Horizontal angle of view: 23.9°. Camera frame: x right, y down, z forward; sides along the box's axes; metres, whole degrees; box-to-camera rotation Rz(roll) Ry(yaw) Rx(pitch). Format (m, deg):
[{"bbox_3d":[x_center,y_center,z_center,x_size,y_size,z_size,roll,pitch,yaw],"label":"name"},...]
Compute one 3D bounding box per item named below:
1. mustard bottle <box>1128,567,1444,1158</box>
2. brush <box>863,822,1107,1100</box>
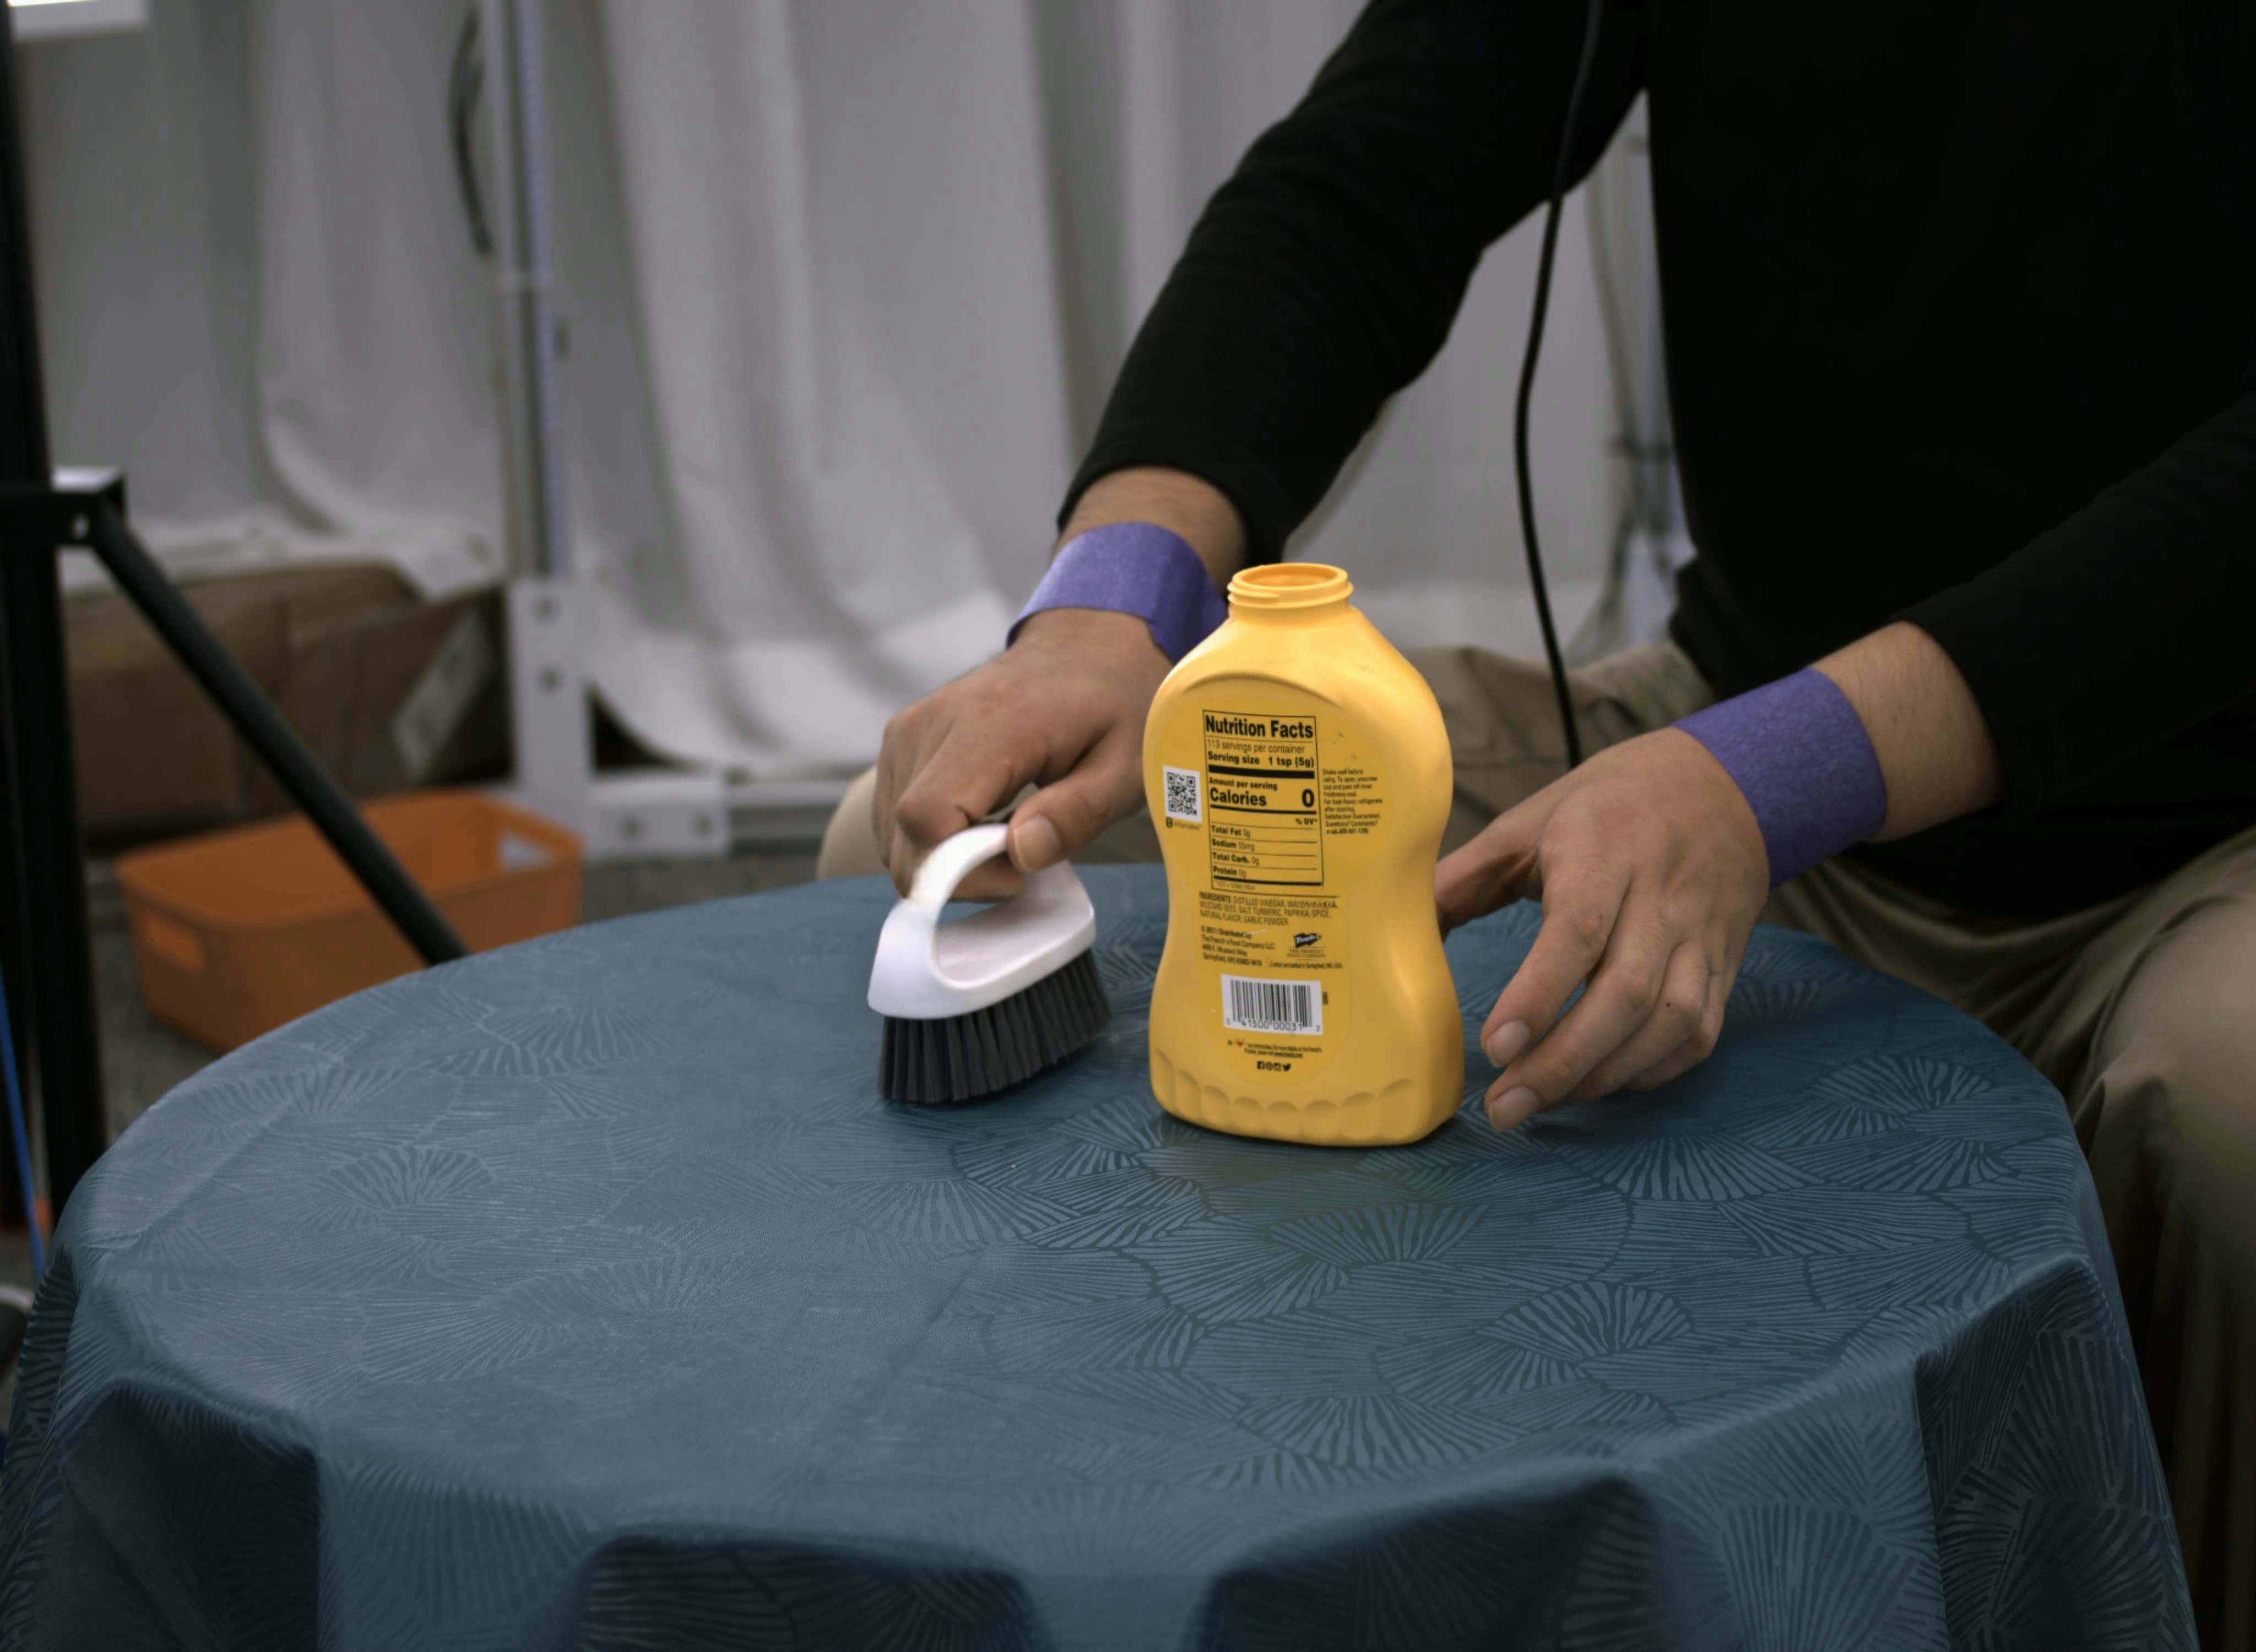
[{"bbox_3d":[0.047,0.010,1.594,0.099,0.172,0.058,4,11,24],"label":"mustard bottle"},{"bbox_3d":[-0.046,0.037,1.674,0.051,0.072,0.097,5,19,33],"label":"brush"}]
